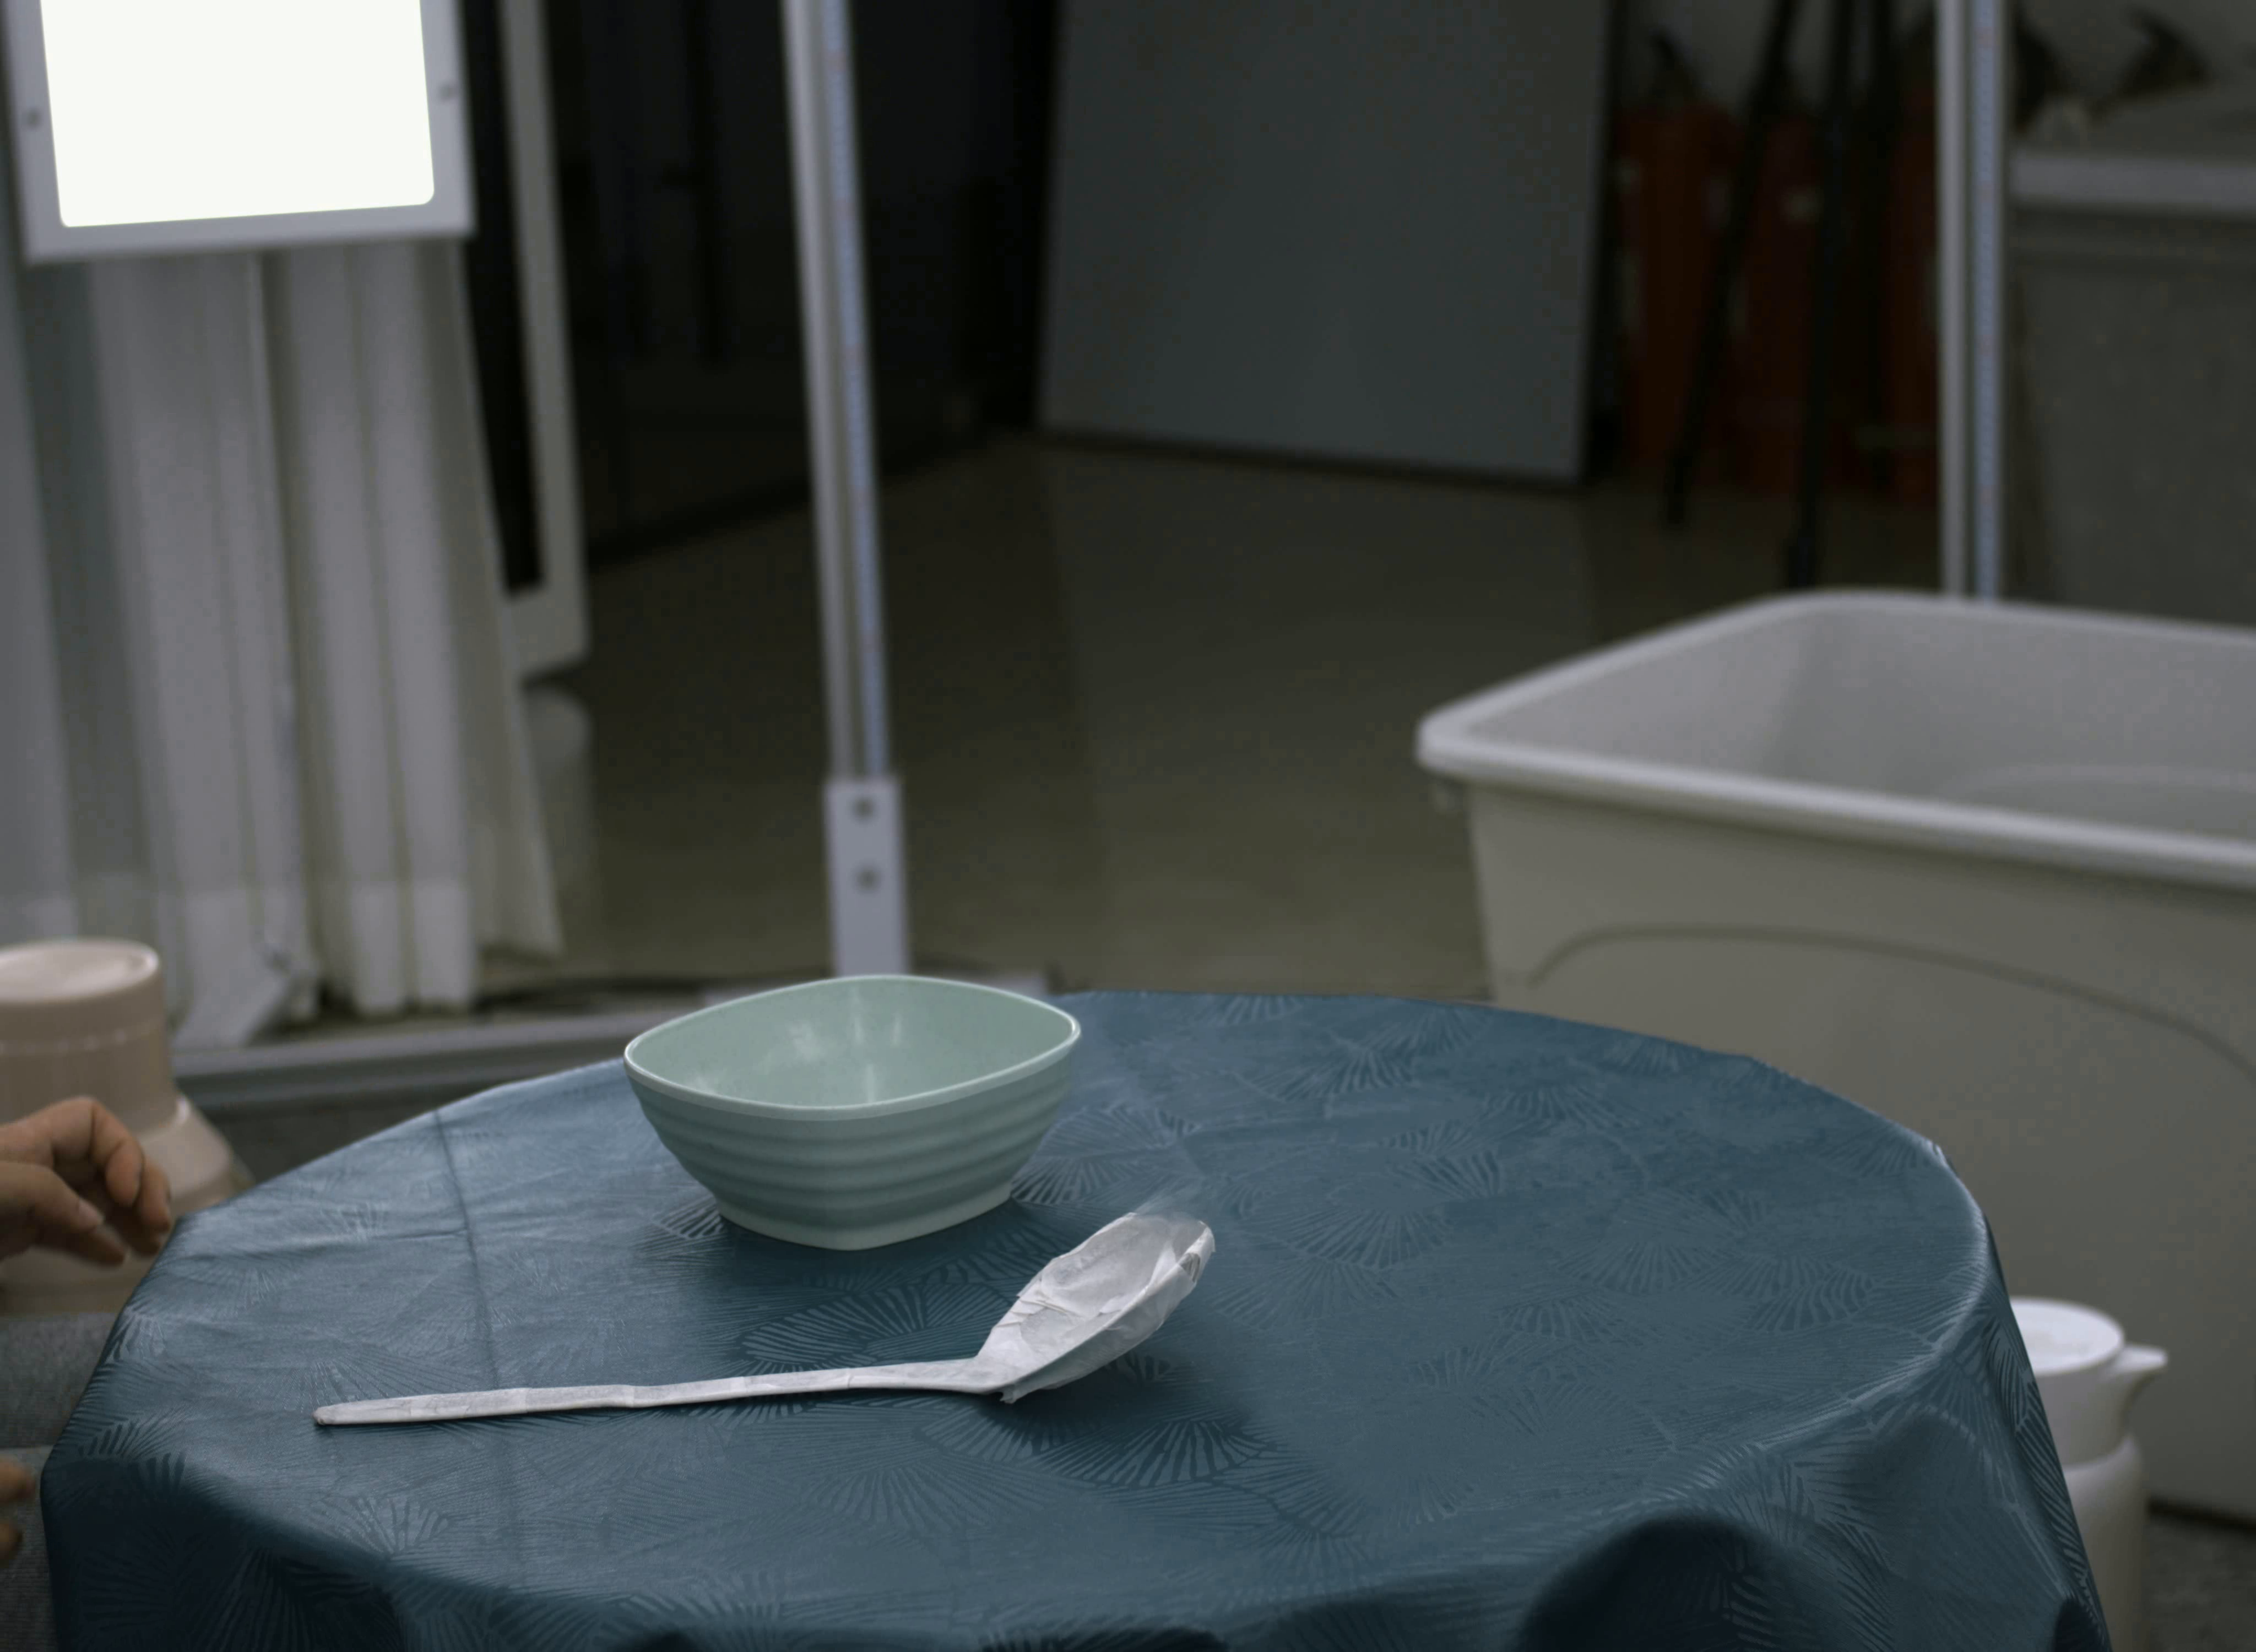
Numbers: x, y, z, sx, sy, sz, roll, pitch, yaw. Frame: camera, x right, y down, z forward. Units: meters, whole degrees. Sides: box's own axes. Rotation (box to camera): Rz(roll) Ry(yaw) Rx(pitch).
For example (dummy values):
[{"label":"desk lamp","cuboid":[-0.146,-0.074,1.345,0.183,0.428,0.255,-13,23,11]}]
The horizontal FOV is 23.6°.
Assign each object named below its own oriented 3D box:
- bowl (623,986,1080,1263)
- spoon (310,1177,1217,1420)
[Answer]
[{"label":"bowl","cuboid":[-0.089,0.100,1.769,0.149,0.059,0.152,-4,13,0]},{"label":"spoon","cuboid":[-0.108,0.140,1.605,0.274,0.060,0.100,-3,9,6]}]
